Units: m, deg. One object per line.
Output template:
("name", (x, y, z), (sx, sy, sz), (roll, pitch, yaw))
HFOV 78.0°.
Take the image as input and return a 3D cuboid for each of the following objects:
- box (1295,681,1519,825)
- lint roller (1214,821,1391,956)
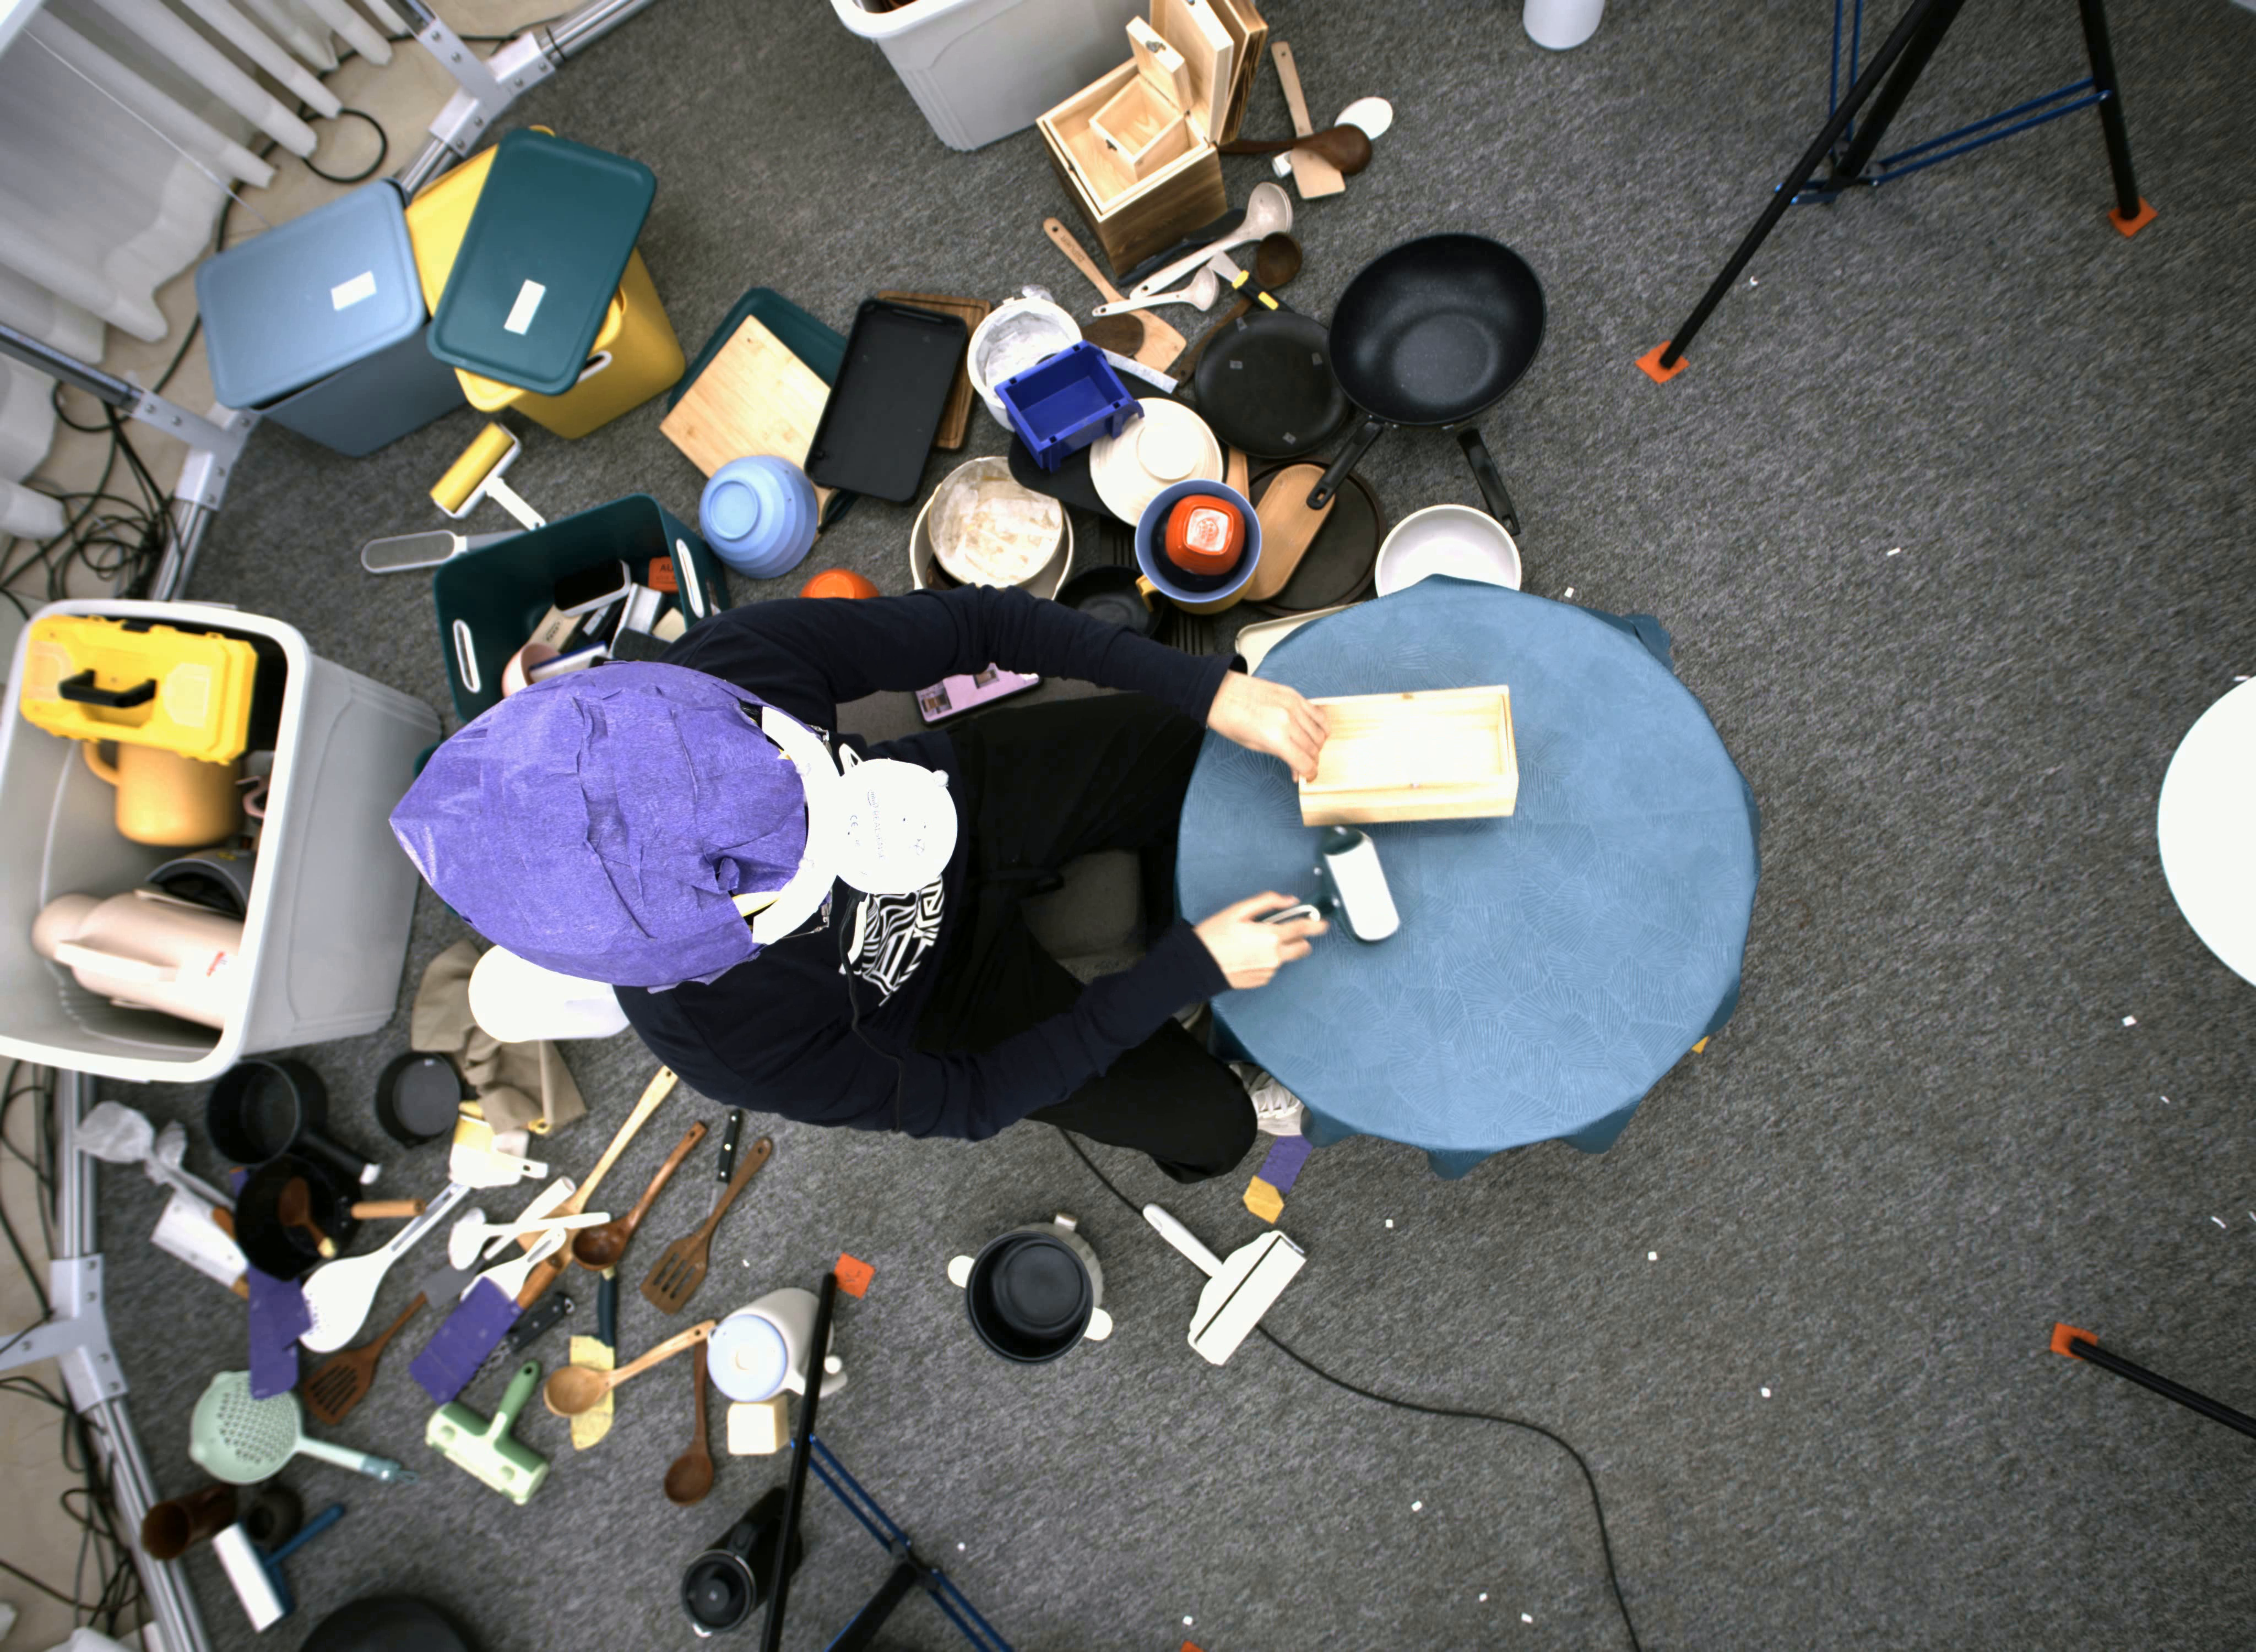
("box", (0.279, -0.074, 1.384), (0.212, 0.081, 0.105), (-5, 66, 12))
("lint roller", (0.171, 0.086, 1.397), (0.179, 0.048, 0.136), (-30, 116, -6))
